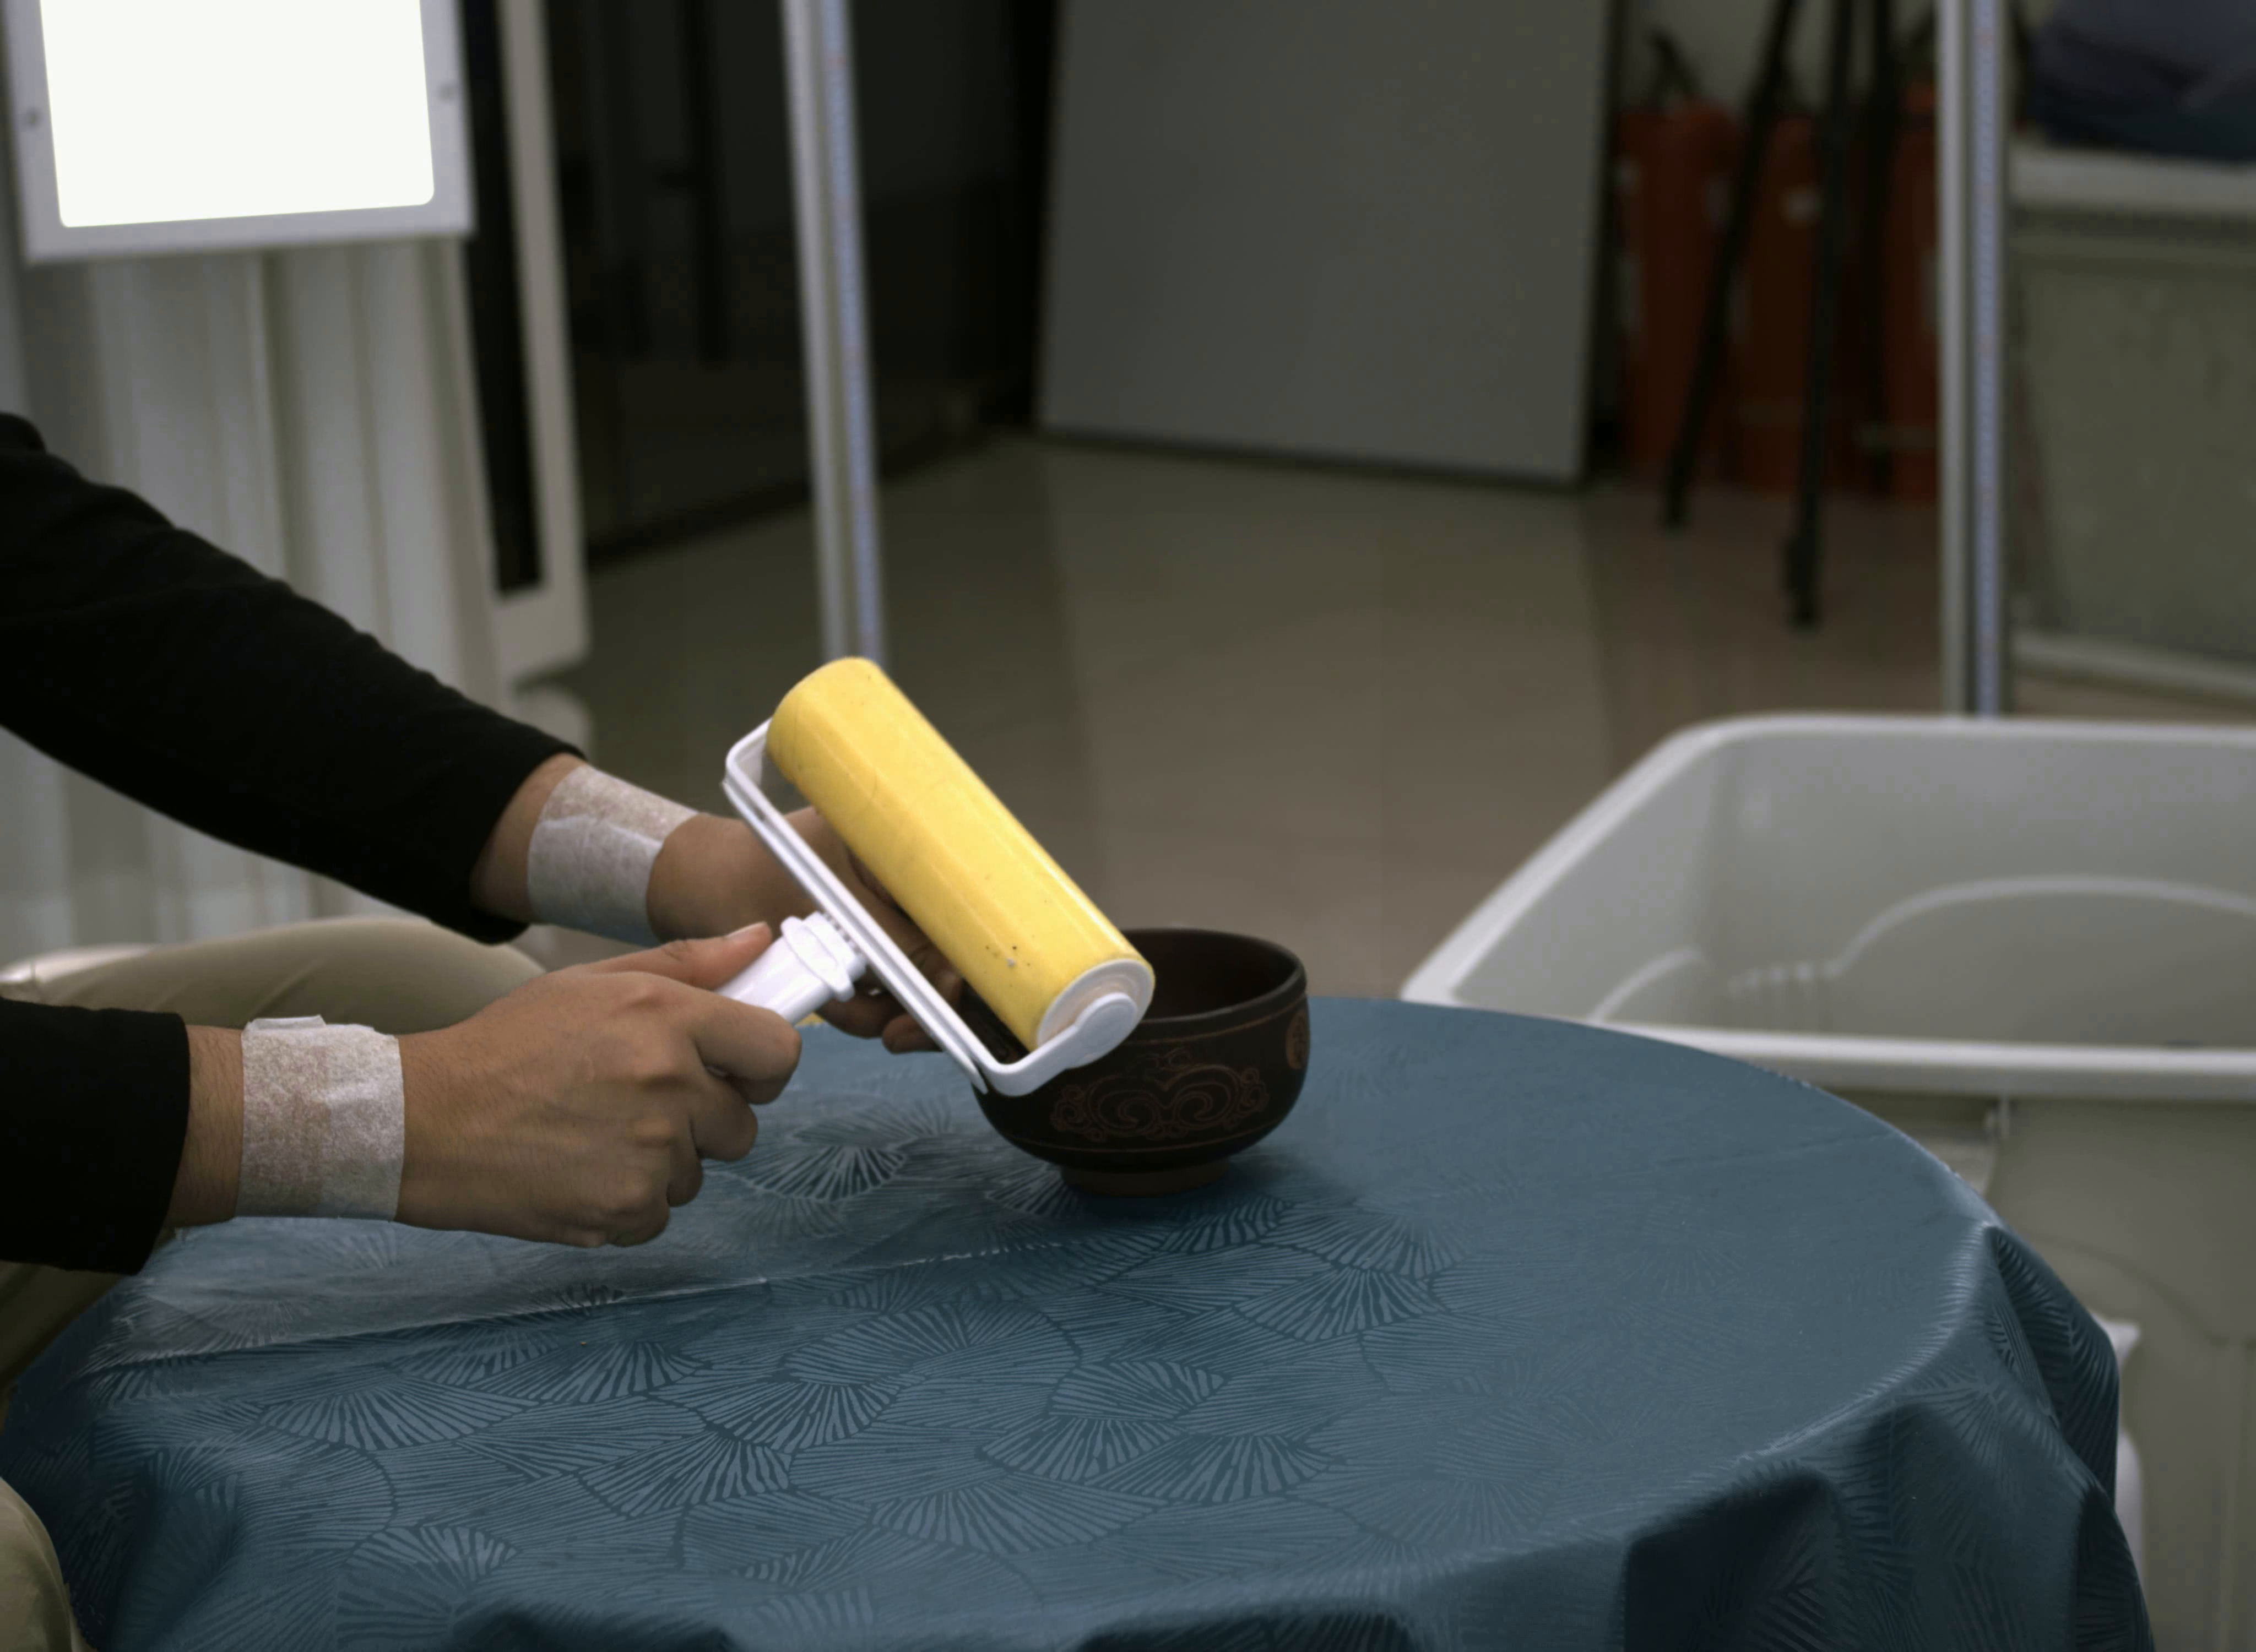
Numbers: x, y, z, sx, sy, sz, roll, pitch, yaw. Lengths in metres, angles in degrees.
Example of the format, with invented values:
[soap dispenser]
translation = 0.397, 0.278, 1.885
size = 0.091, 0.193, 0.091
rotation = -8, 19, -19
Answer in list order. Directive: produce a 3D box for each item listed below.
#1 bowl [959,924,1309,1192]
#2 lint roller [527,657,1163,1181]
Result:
[bowl]
translation = 0.003, 0.080, 1.781
size = 0.116, 0.070, 0.118
rotation = -3, 13, 0
[lint roller]
translation = -0.111, 0.047, 1.716
size = 0.189, 0.051, 0.176
rotation = -31, 53, -20
